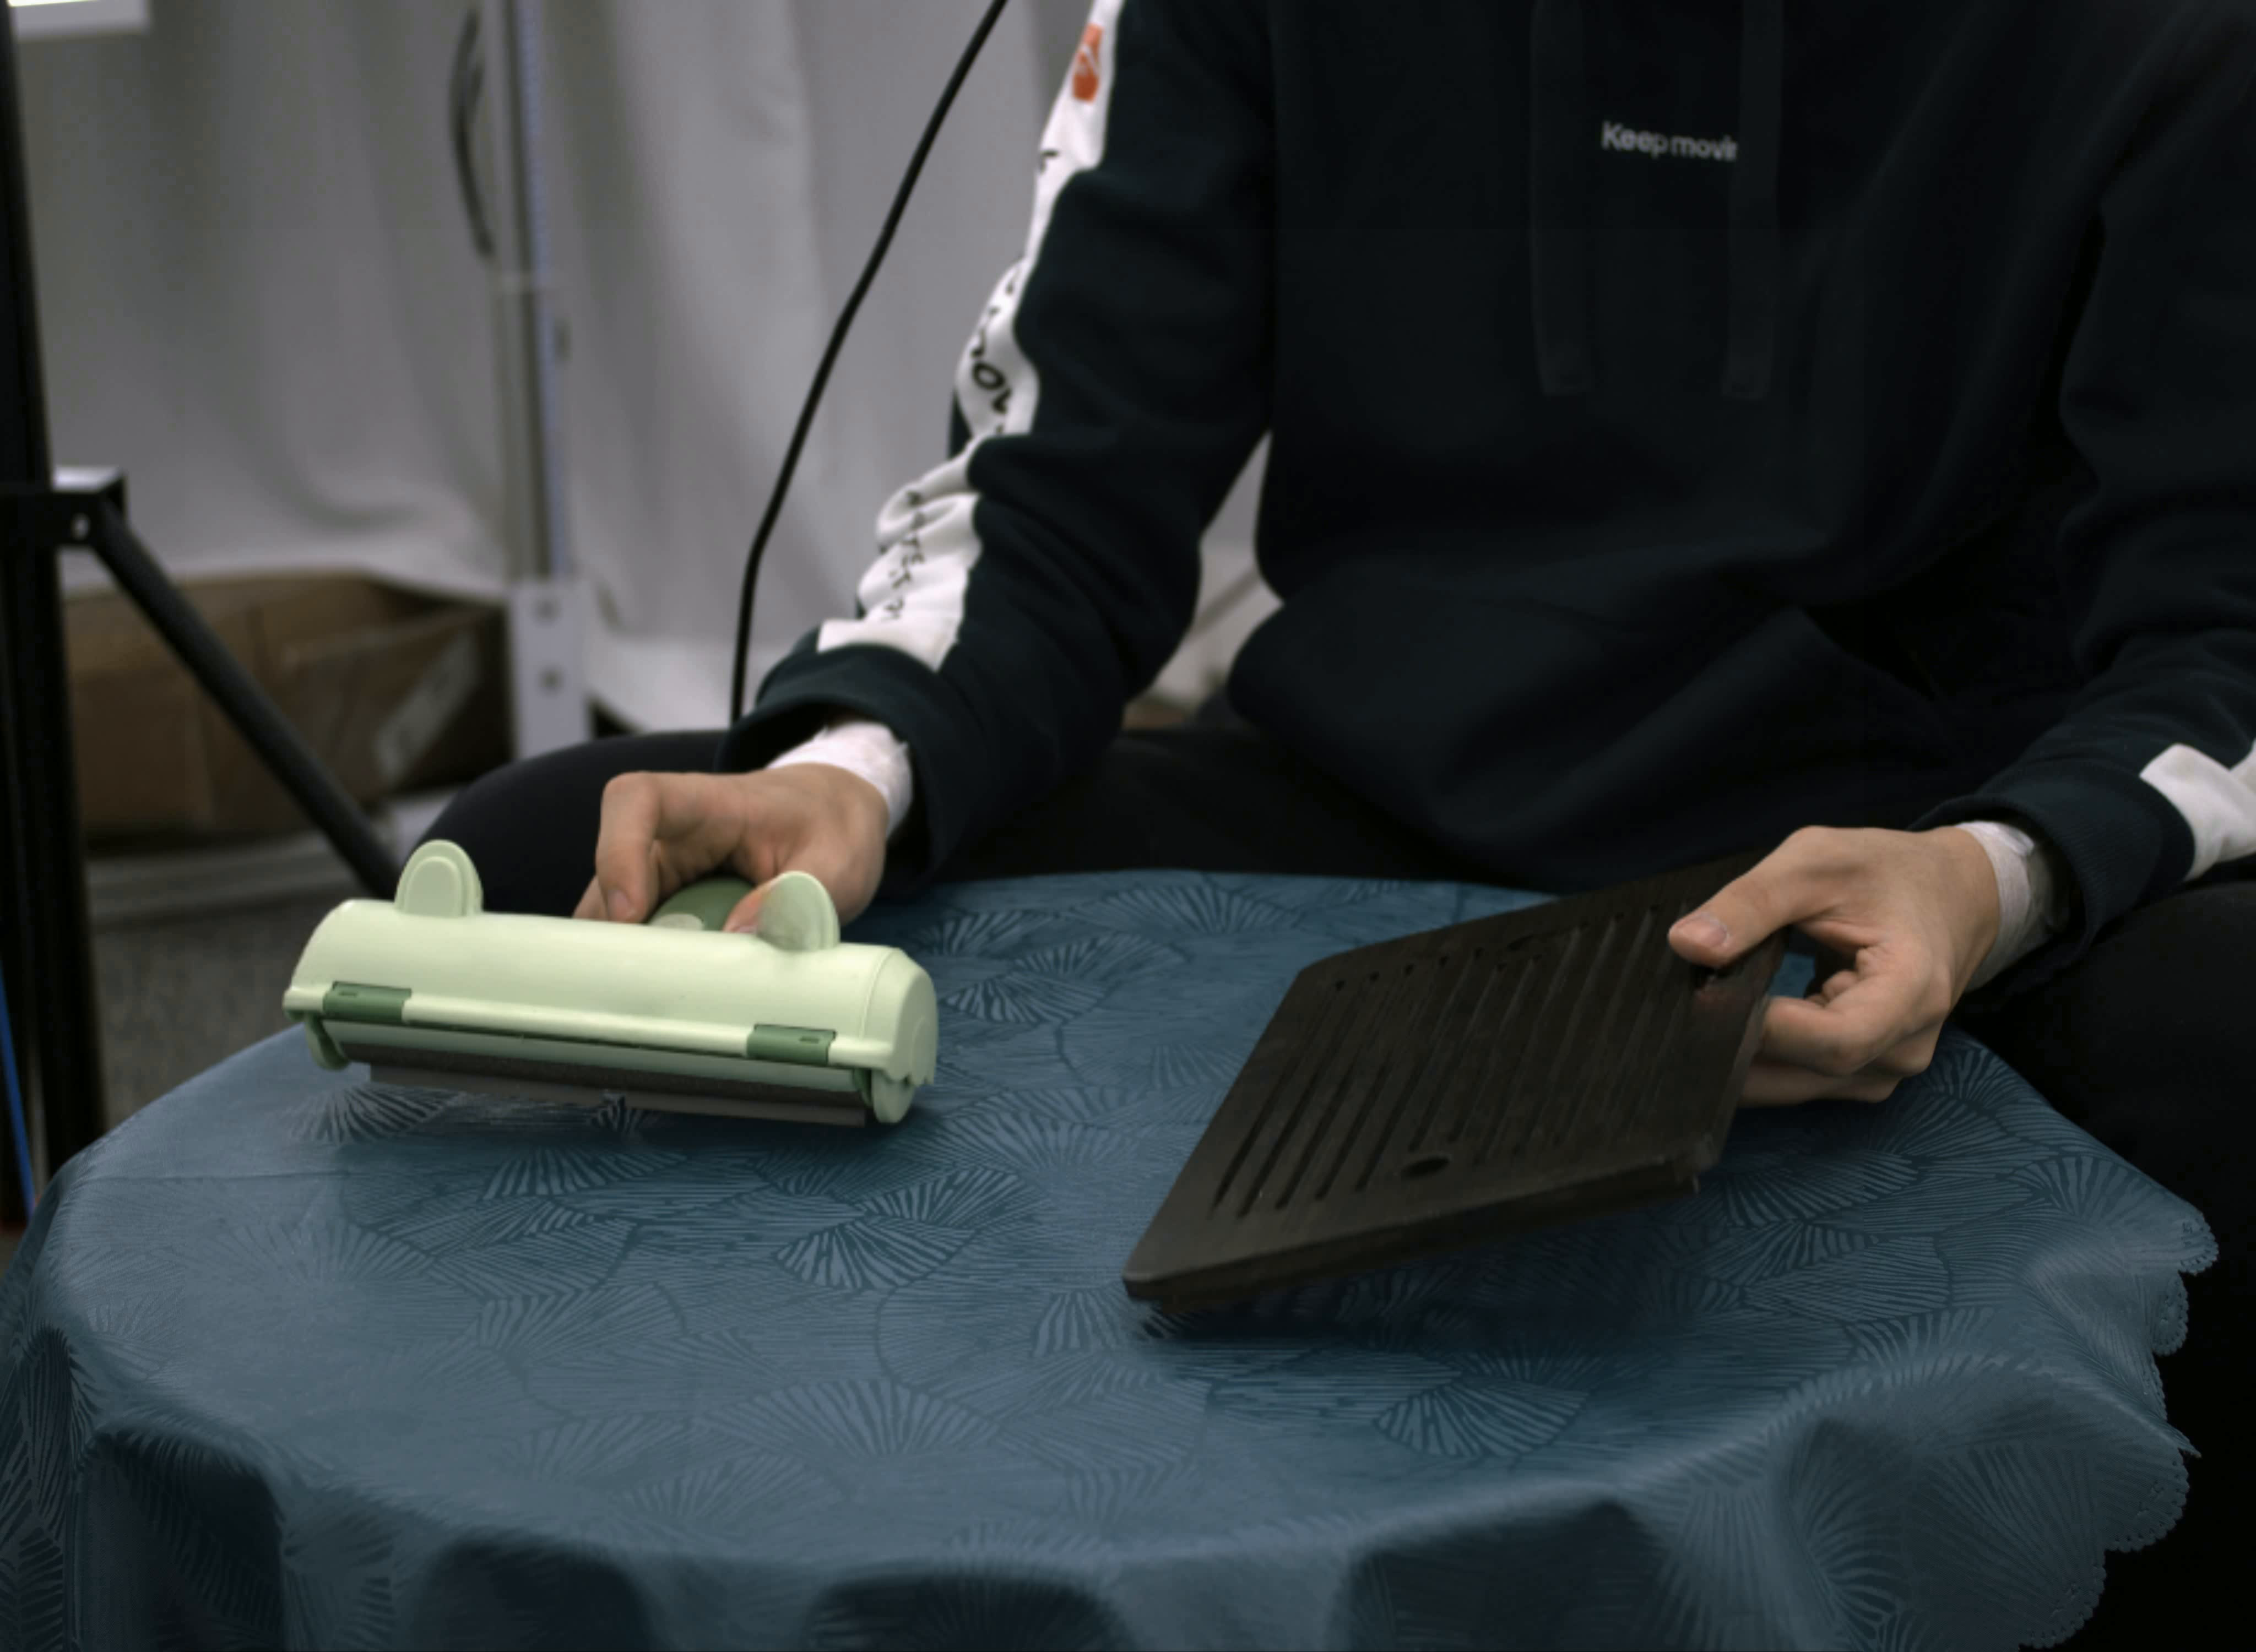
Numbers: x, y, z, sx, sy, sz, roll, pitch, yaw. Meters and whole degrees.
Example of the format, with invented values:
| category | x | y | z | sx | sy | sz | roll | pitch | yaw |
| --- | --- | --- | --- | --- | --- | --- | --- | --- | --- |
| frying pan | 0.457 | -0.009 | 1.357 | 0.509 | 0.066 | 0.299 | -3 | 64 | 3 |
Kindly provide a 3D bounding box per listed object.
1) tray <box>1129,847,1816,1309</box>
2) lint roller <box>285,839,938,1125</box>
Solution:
| category | x | y | z | sx | sy | sz | roll | pitch | yaw |
| --- | --- | --- | --- | --- | --- | --- | --- | --- | --- |
| tray | 0.110 | 0.071 | 1.552 | 0.171 | 0.018 | 0.304 | -15 | 11 | 16 |
| lint roller | -0.144 | 0.029 | 1.689 | 0.200 | 0.082 | 0.182 | 5 | 24 | 15 |
